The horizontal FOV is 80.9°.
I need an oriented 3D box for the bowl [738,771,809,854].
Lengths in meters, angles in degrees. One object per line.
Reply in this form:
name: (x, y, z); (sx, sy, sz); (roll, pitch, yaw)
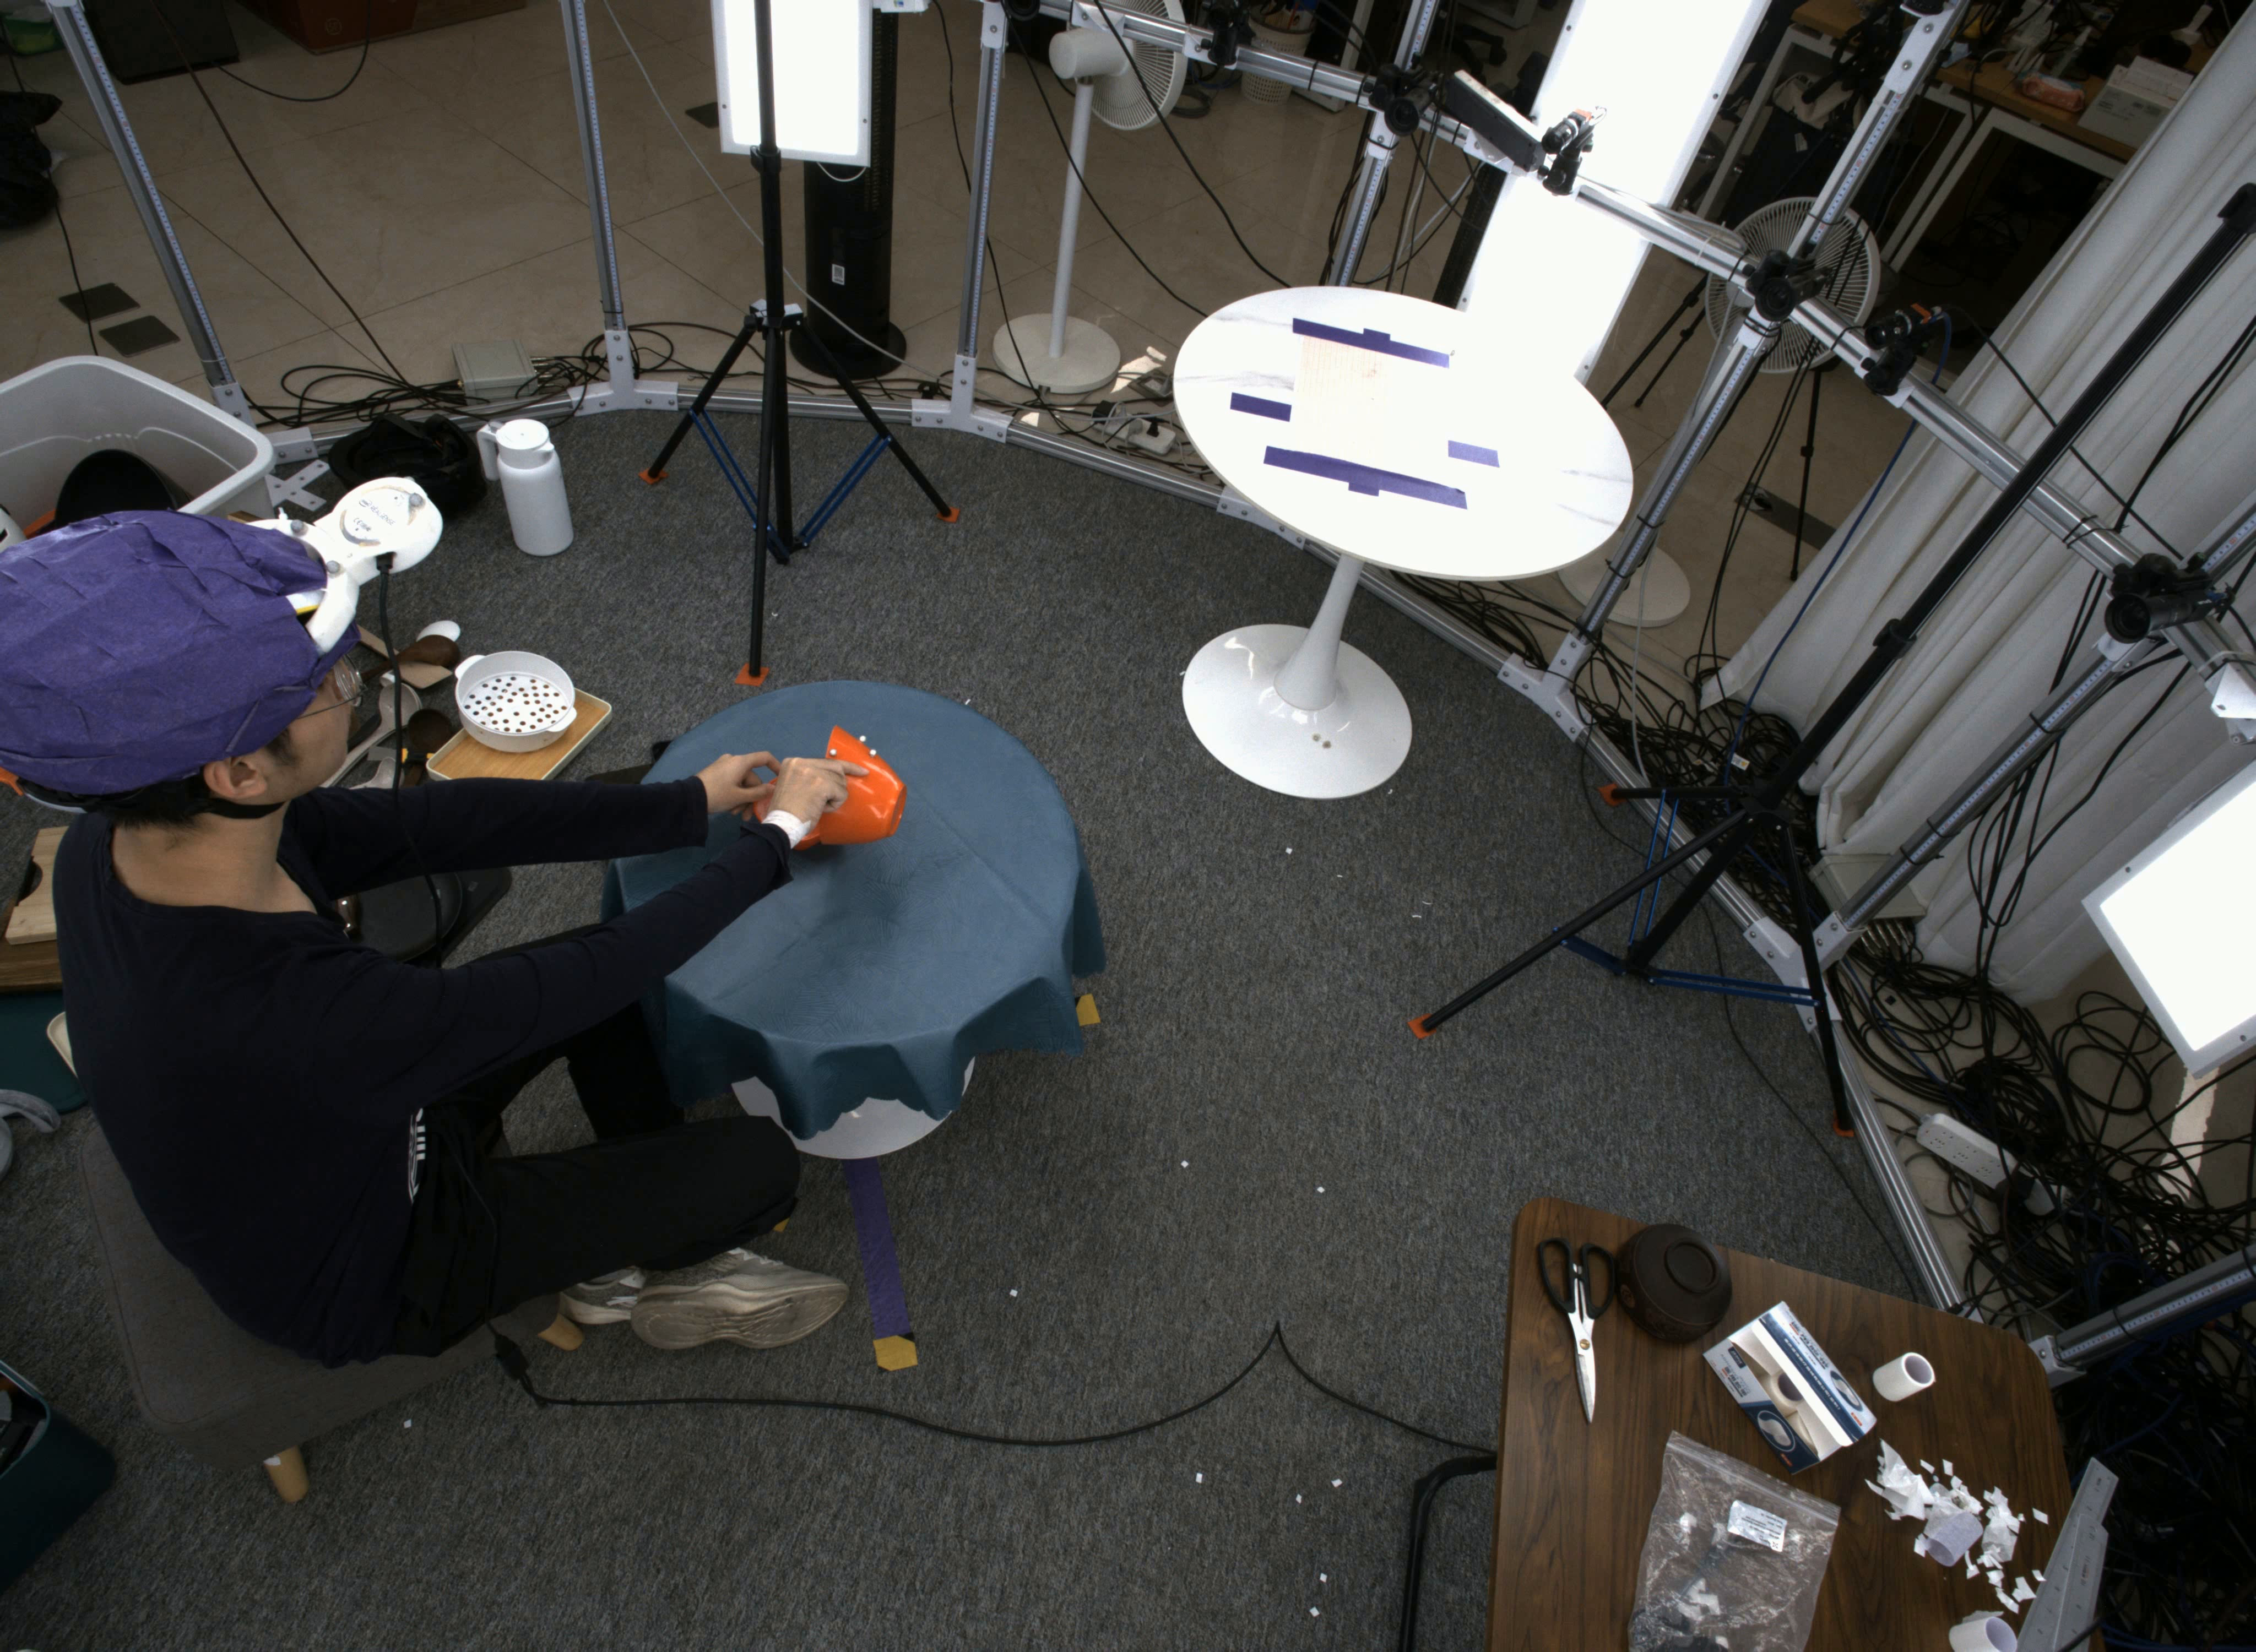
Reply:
bowl: (-0.451, -0.010, 1.705); (0.118, 0.052, 0.117); (7, 55, -9)

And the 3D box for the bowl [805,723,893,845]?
bowl: (-0.348, -0.043, 1.613); (0.104, 0.151, 0.146); (14, 51, -2)
